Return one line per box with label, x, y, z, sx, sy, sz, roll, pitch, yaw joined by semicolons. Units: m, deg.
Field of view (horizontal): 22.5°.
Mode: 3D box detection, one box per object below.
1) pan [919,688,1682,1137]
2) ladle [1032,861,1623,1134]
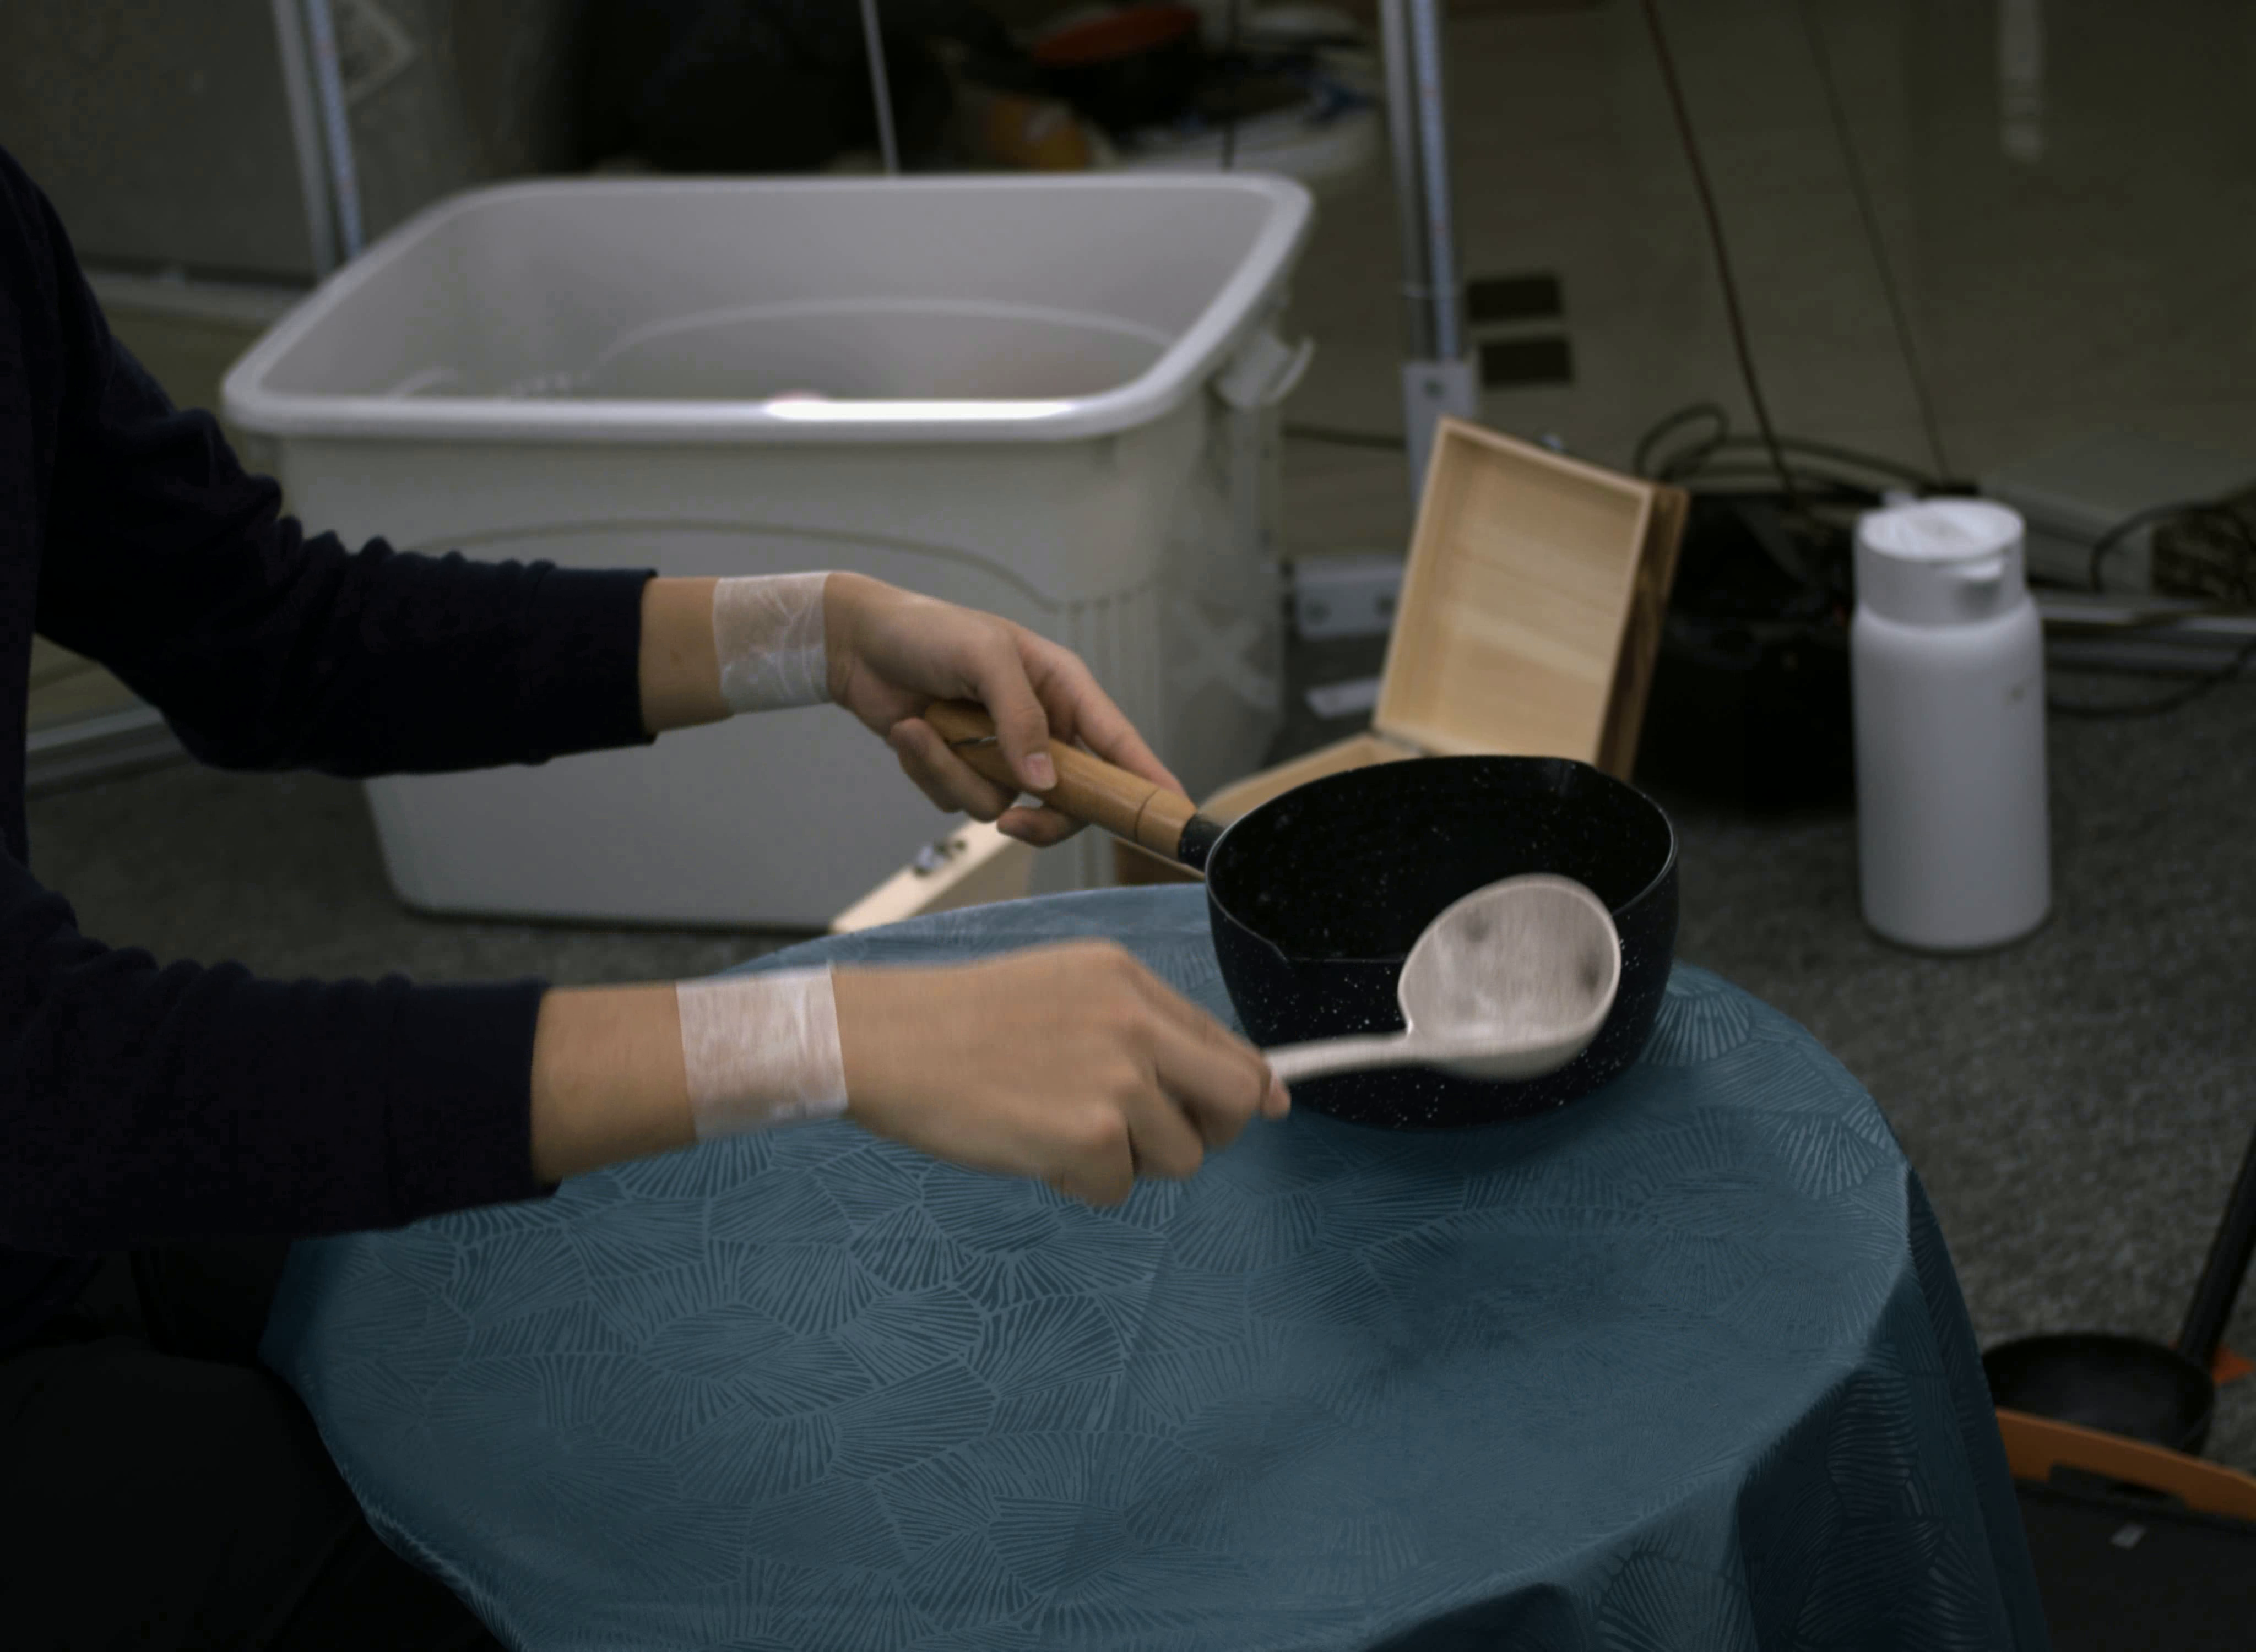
pan;0.059;0.025;2.246;0.341;0.110;0.205;13;32;32
ladle;0.066;0.057;1.950;0.088;0.070;0.274;19;17;39
